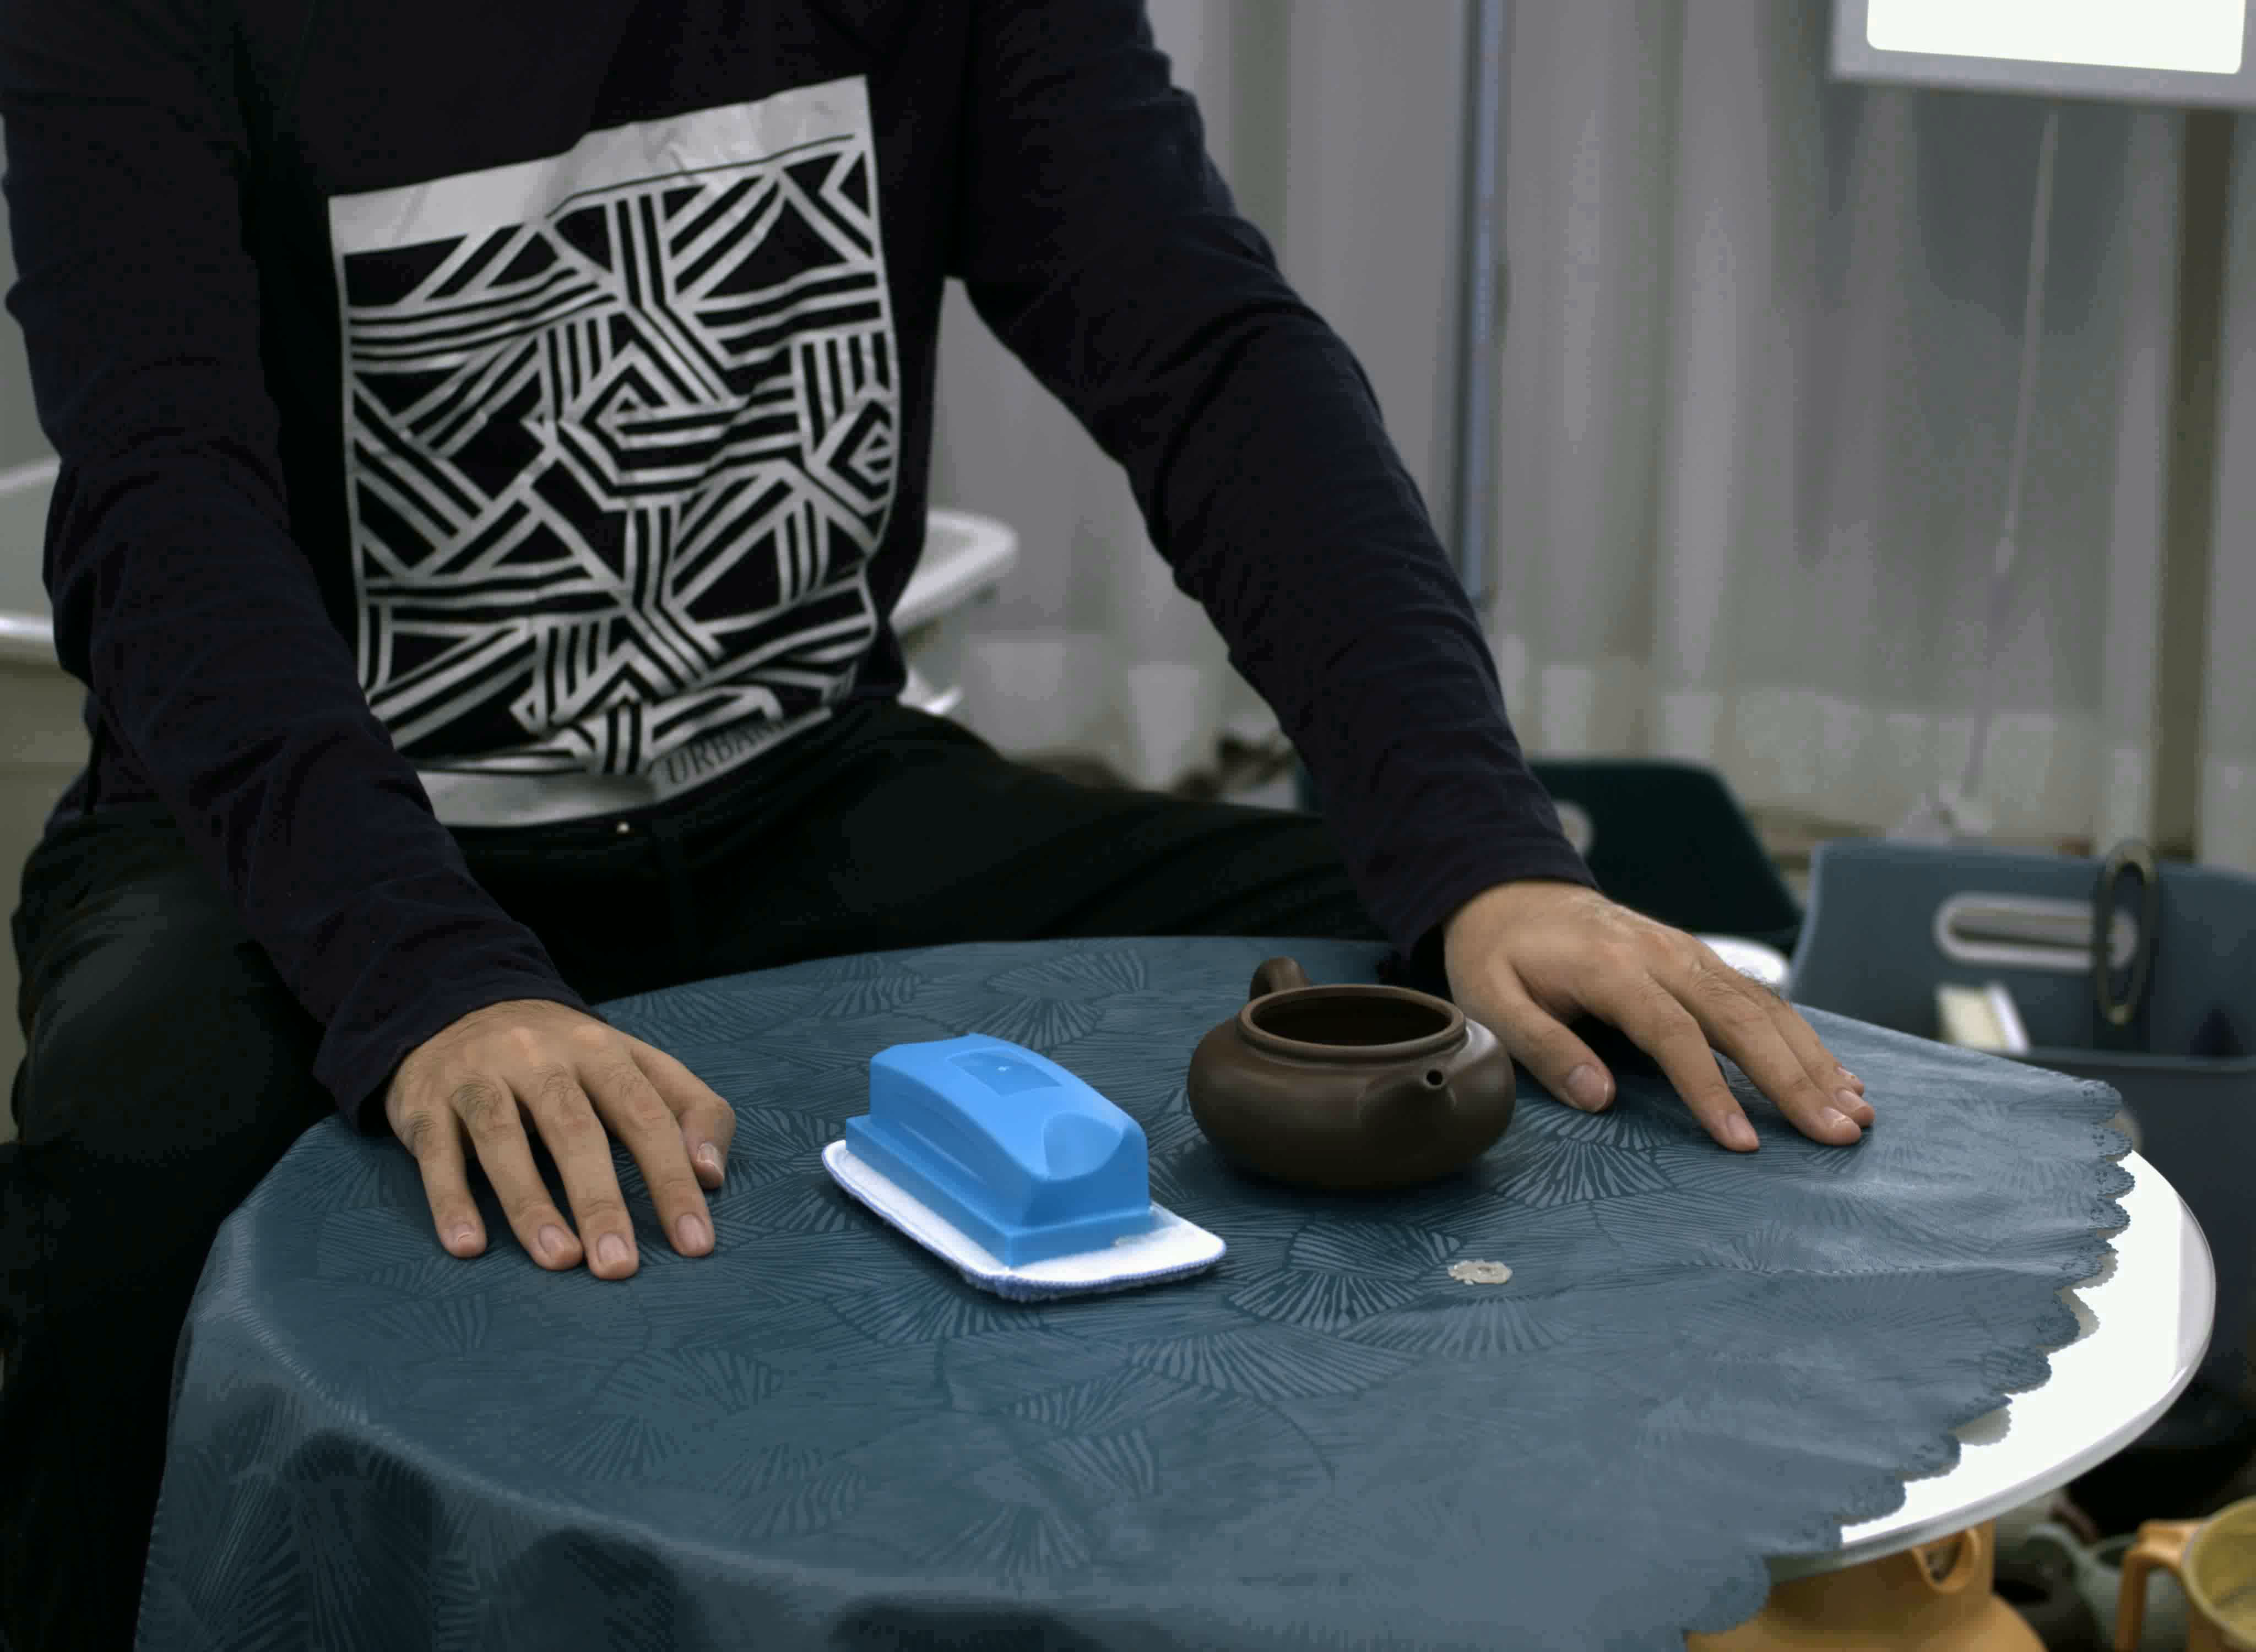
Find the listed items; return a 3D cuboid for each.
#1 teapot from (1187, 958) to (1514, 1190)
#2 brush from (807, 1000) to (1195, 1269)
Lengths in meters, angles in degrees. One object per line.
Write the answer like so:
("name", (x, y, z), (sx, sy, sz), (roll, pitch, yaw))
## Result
("teapot", (0.068, 0.079, 1.651), (0.103, 0.054, 0.151), (-5, 16, -24))
("brush", (-0.038, 0.090, 1.589), (0.084, 0.056, 0.142), (-3, 18, -25))
